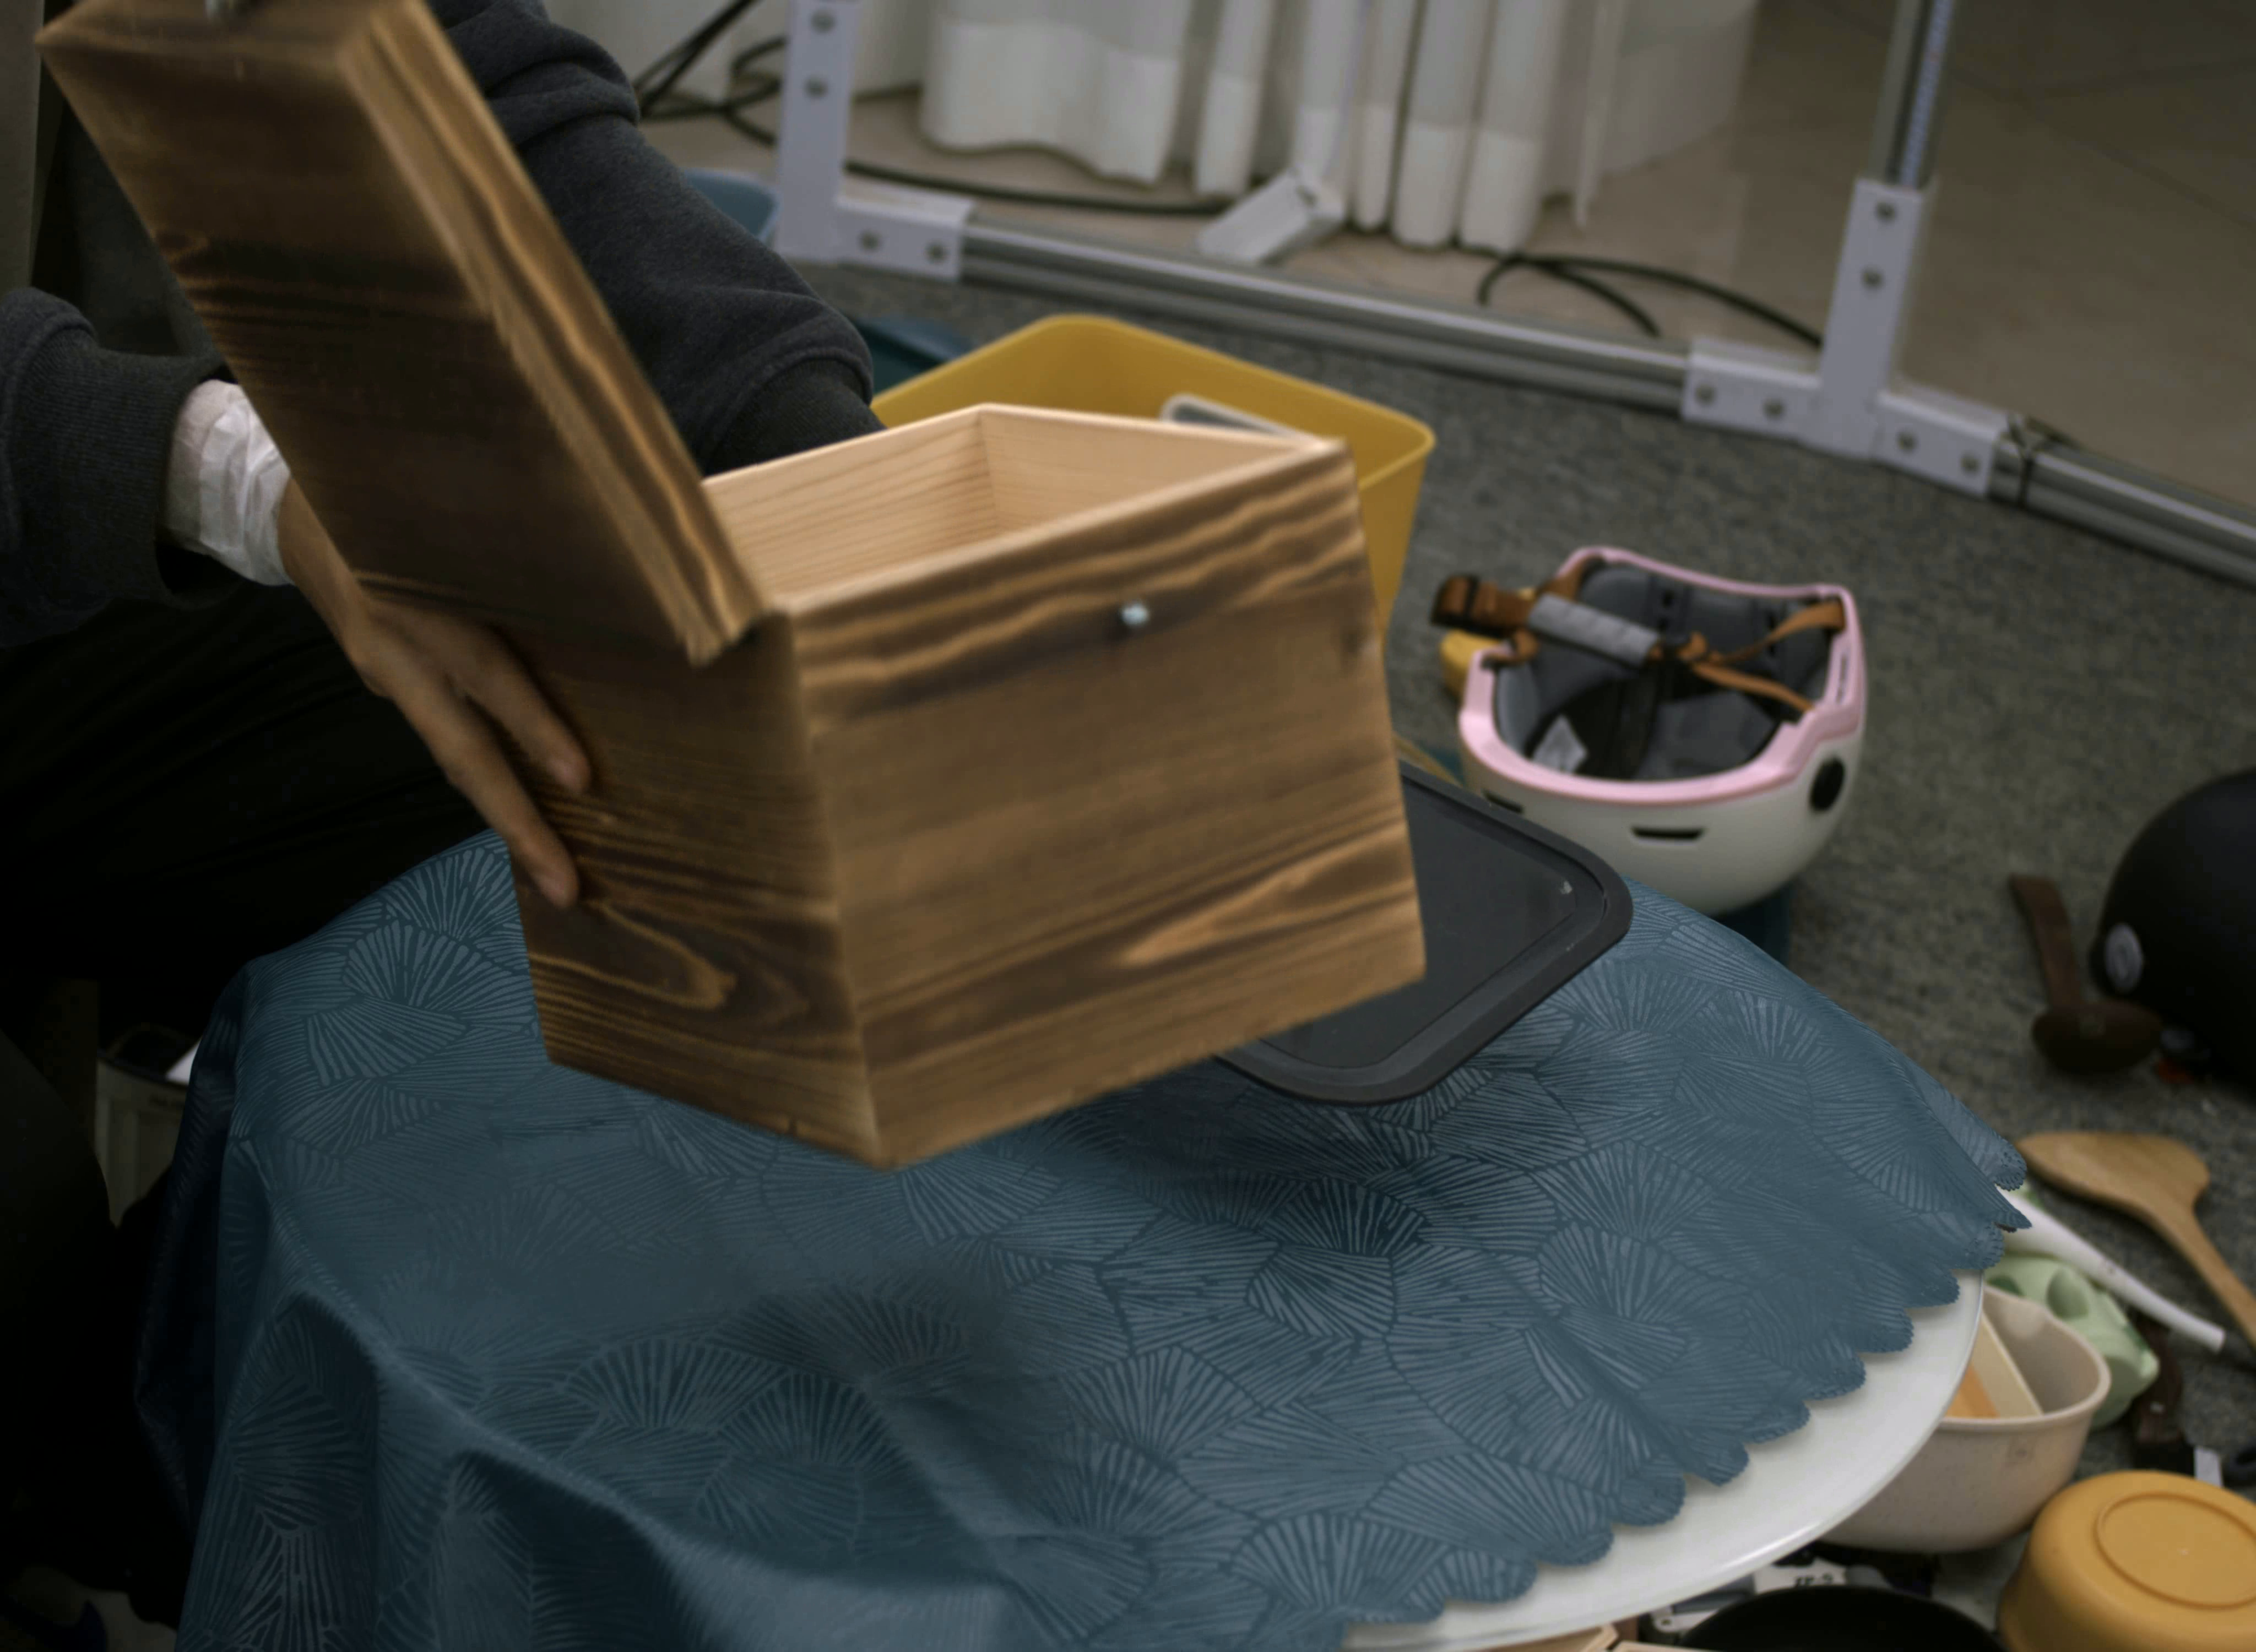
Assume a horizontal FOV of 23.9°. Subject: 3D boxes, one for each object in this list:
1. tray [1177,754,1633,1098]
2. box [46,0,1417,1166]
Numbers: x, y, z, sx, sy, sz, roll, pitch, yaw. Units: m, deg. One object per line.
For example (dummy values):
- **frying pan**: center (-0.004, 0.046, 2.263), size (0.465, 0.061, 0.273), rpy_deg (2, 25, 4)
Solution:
- **tray**: center (0.007, -0.002, 1.907), size (0.327, 0.010, 0.210), rpy_deg (26, 36, 26)
- **box**: center (-0.114, -0.101, 1.570), size (0.320, 0.375, 0.210), rpy_deg (-18, 16, -32)
